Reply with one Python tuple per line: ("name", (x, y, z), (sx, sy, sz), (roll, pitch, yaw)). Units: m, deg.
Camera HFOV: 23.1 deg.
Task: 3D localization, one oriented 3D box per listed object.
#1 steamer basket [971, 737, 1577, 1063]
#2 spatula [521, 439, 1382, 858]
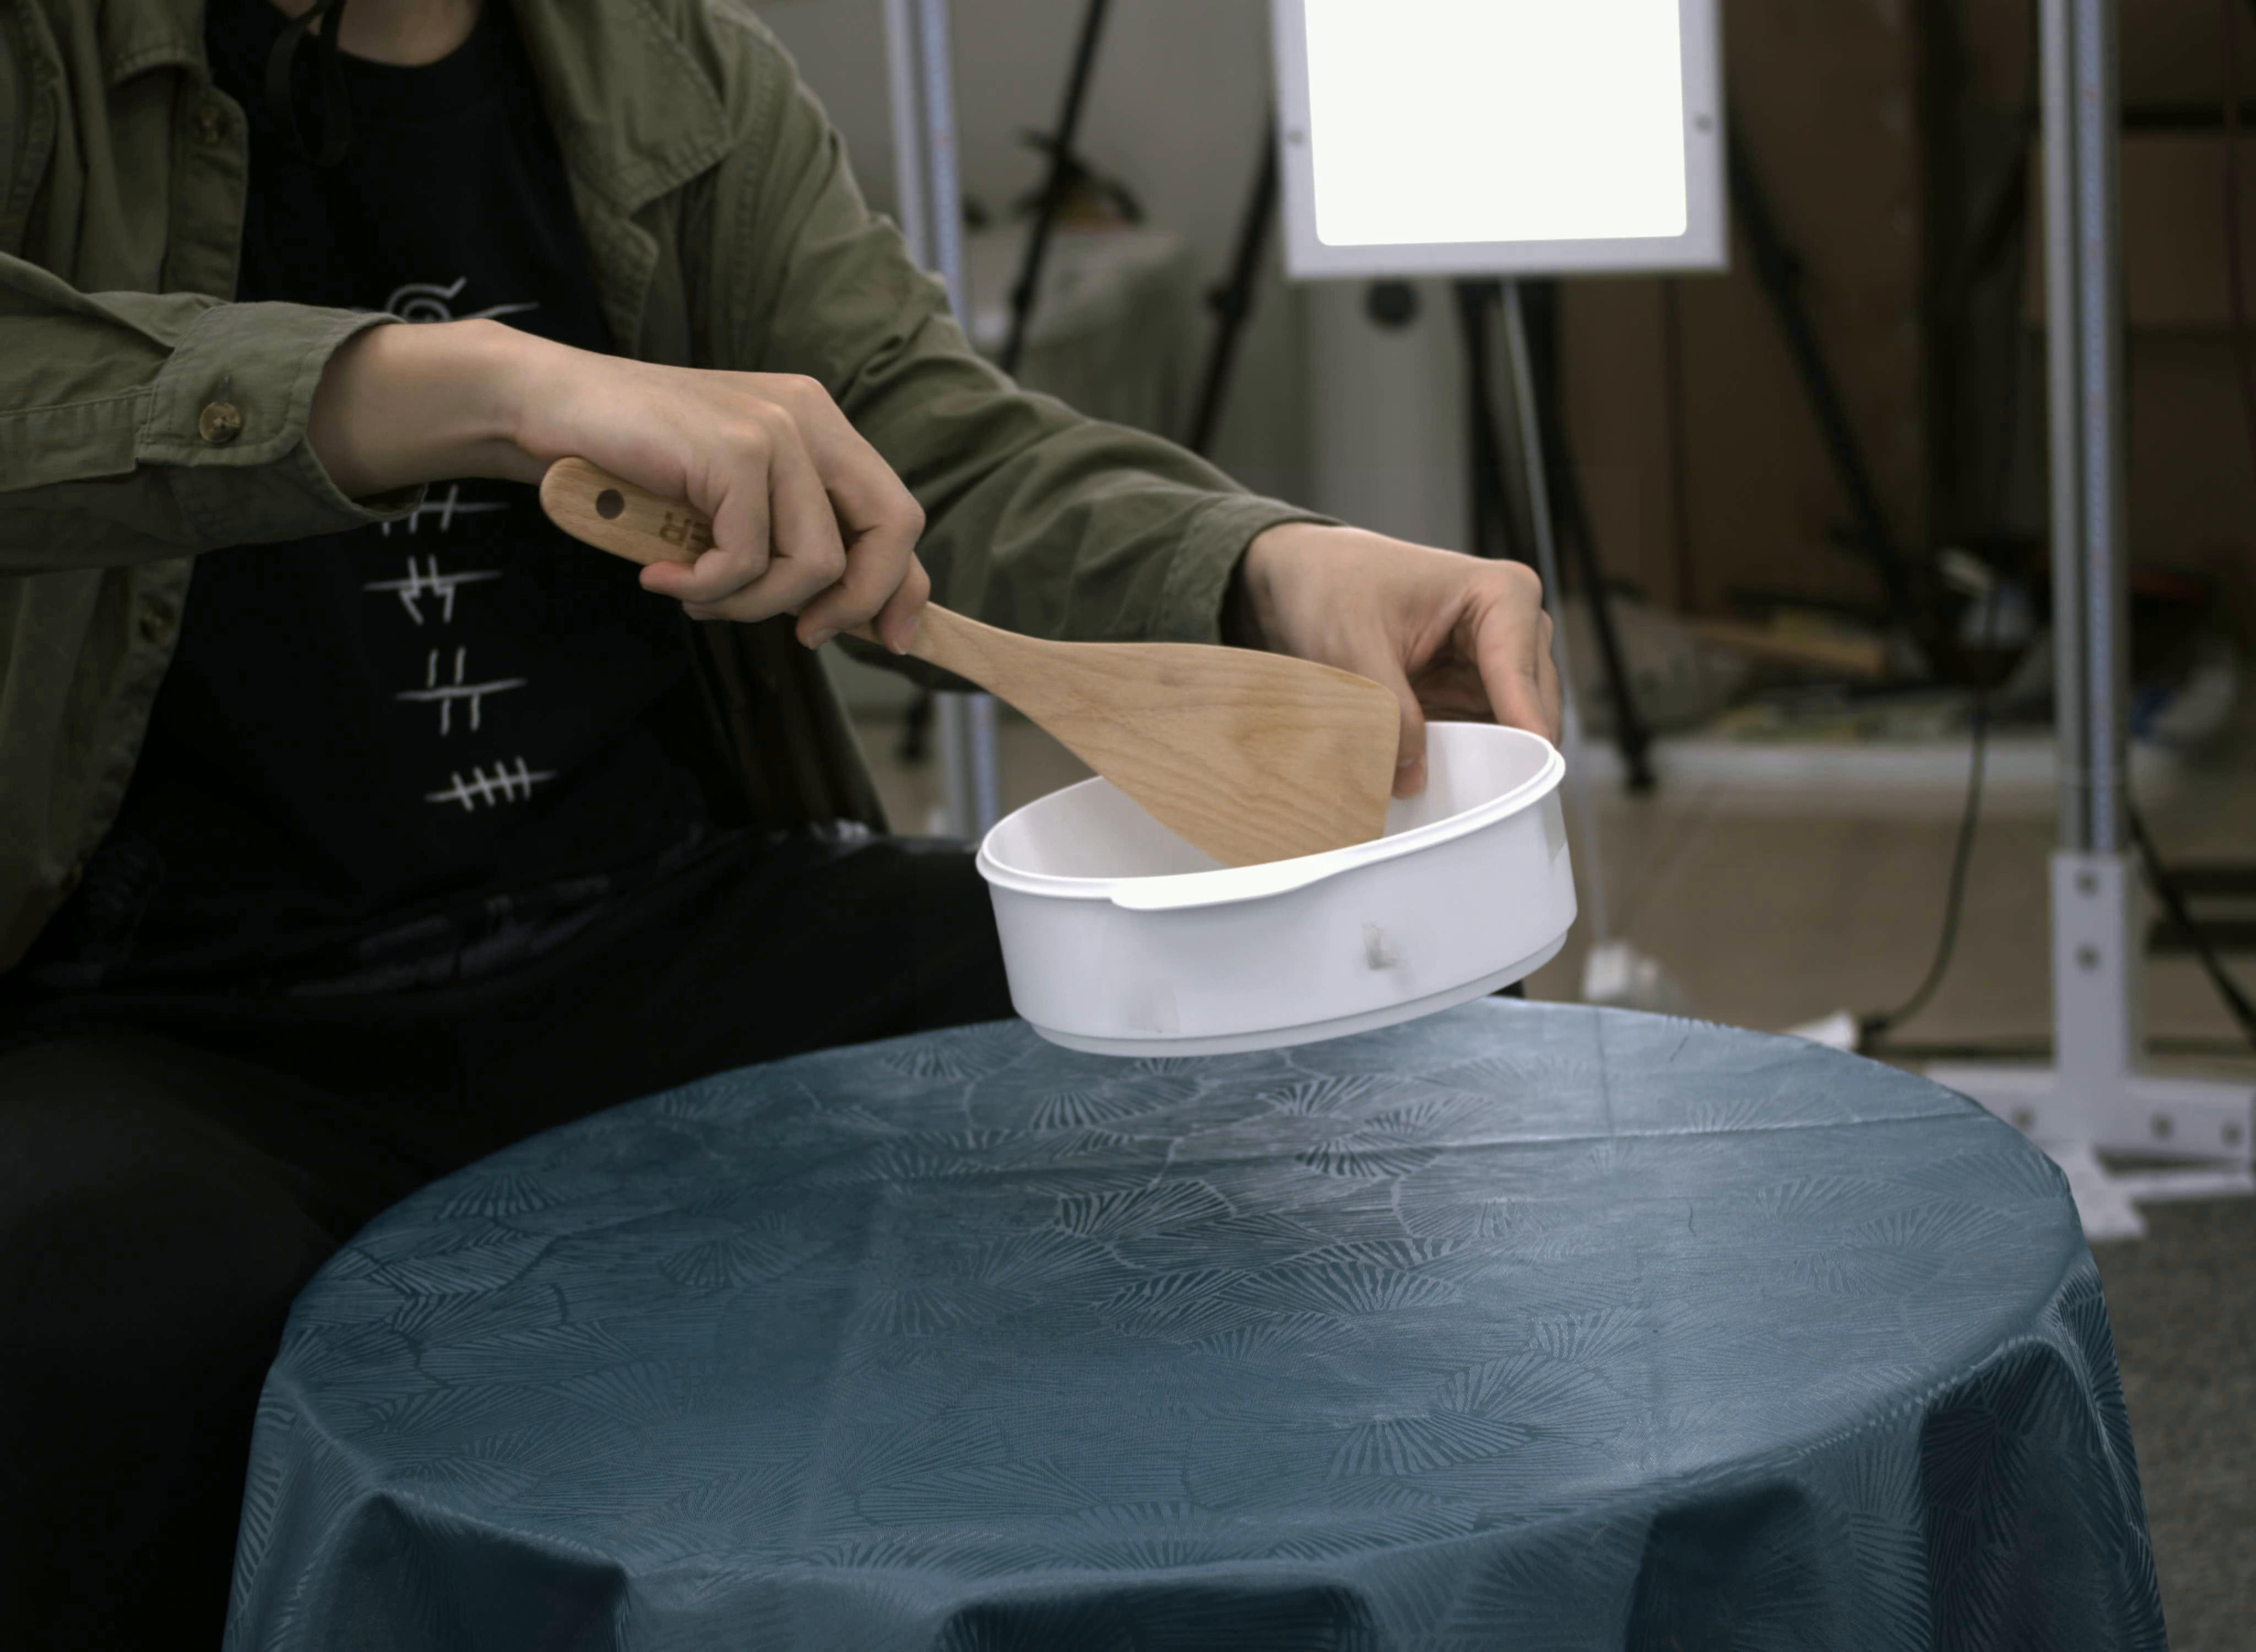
("steamer basket", (0.052, 0.025, 1.838), (0.204, 0.069, 0.227), (-7, 11, 15))
("spatula", (-0.054, -0.065, 1.839), (0.322, 0.080, 0.017), (21, 0, -23))
